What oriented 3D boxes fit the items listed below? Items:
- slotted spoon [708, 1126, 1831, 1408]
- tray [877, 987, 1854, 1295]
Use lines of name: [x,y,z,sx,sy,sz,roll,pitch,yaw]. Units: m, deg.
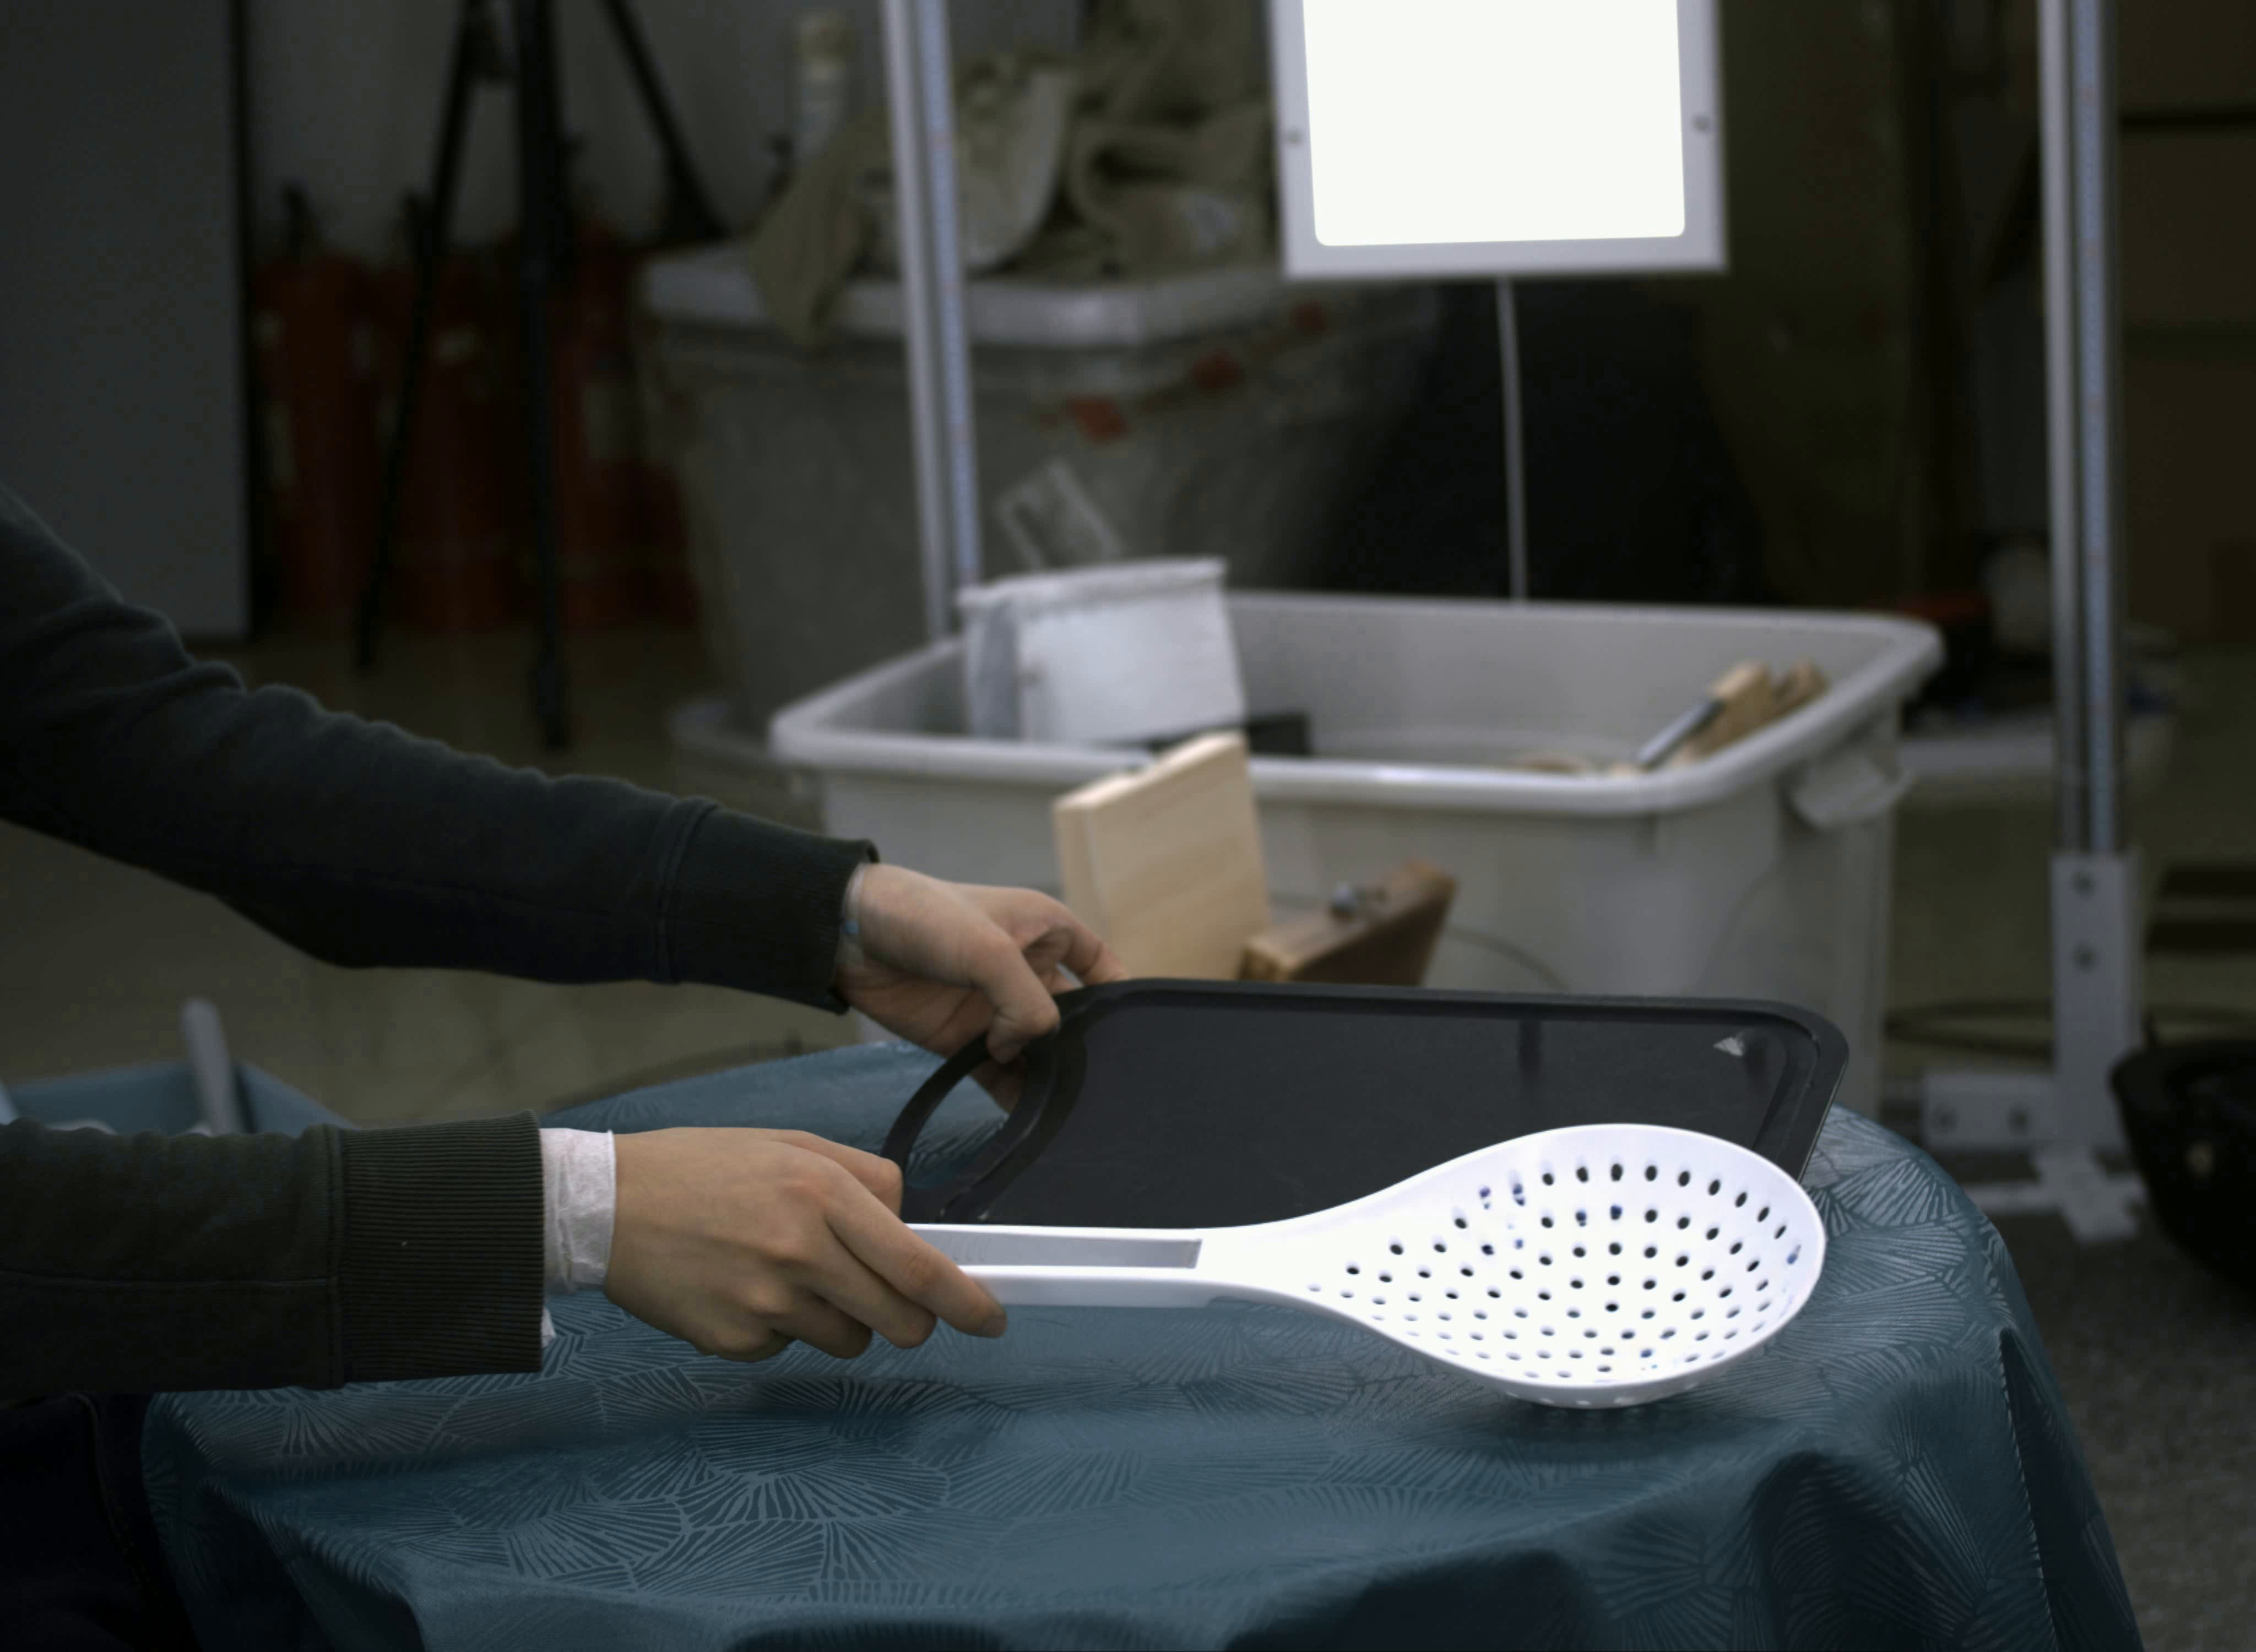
slotted spoon: [0.041,0.135,1.691,0.352,0.046,0.134,4,32,12]
tray: [0.075,0.104,1.866,0.330,0.010,0.207,0,26,21]
